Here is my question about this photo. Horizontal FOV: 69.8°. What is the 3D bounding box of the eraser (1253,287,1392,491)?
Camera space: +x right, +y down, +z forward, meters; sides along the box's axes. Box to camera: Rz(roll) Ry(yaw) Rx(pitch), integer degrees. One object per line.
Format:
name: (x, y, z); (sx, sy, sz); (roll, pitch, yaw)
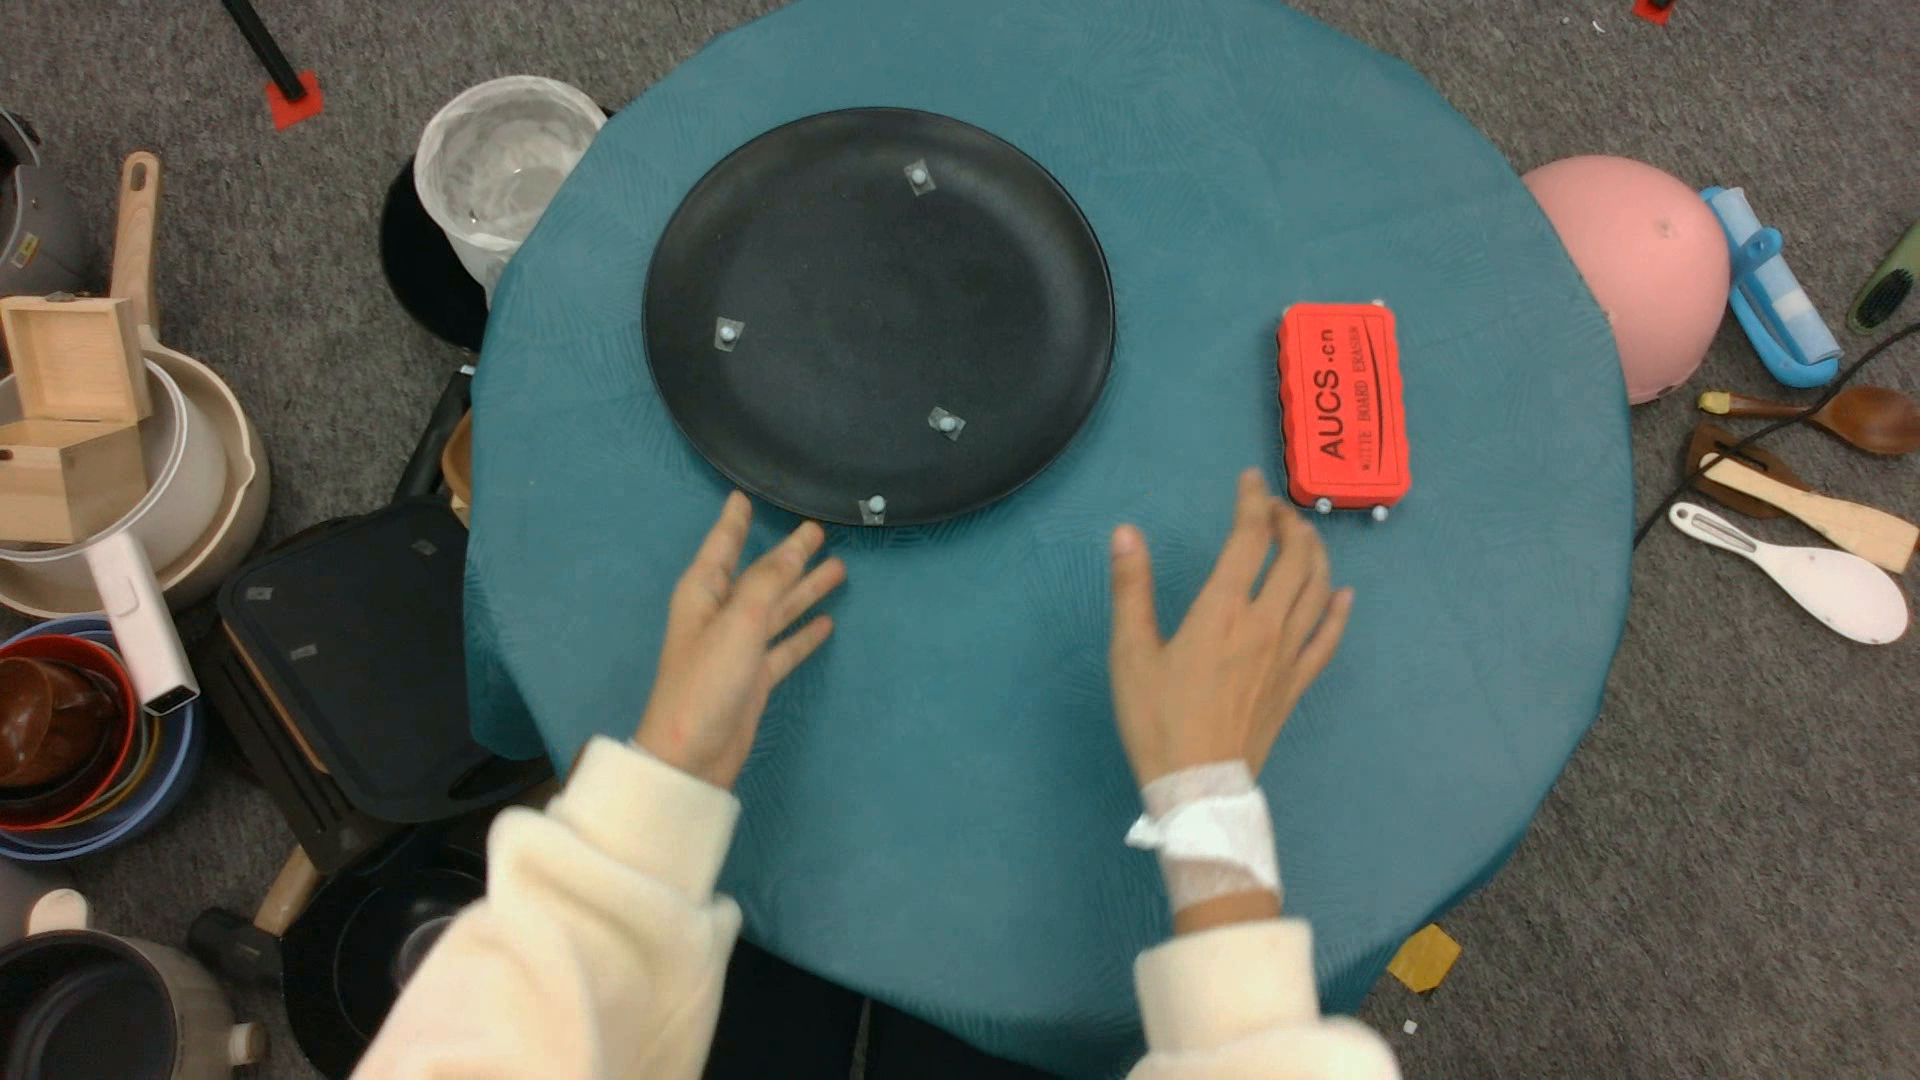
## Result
eraser: (0.186, -0.079, 0.711); (0.059, 0.023, 0.108); (0, 68, -4)

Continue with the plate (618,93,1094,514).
plate: (-0.053, -0.125, 0.715); (0.244, 0.023, 0.245); (1, 71, -3)
